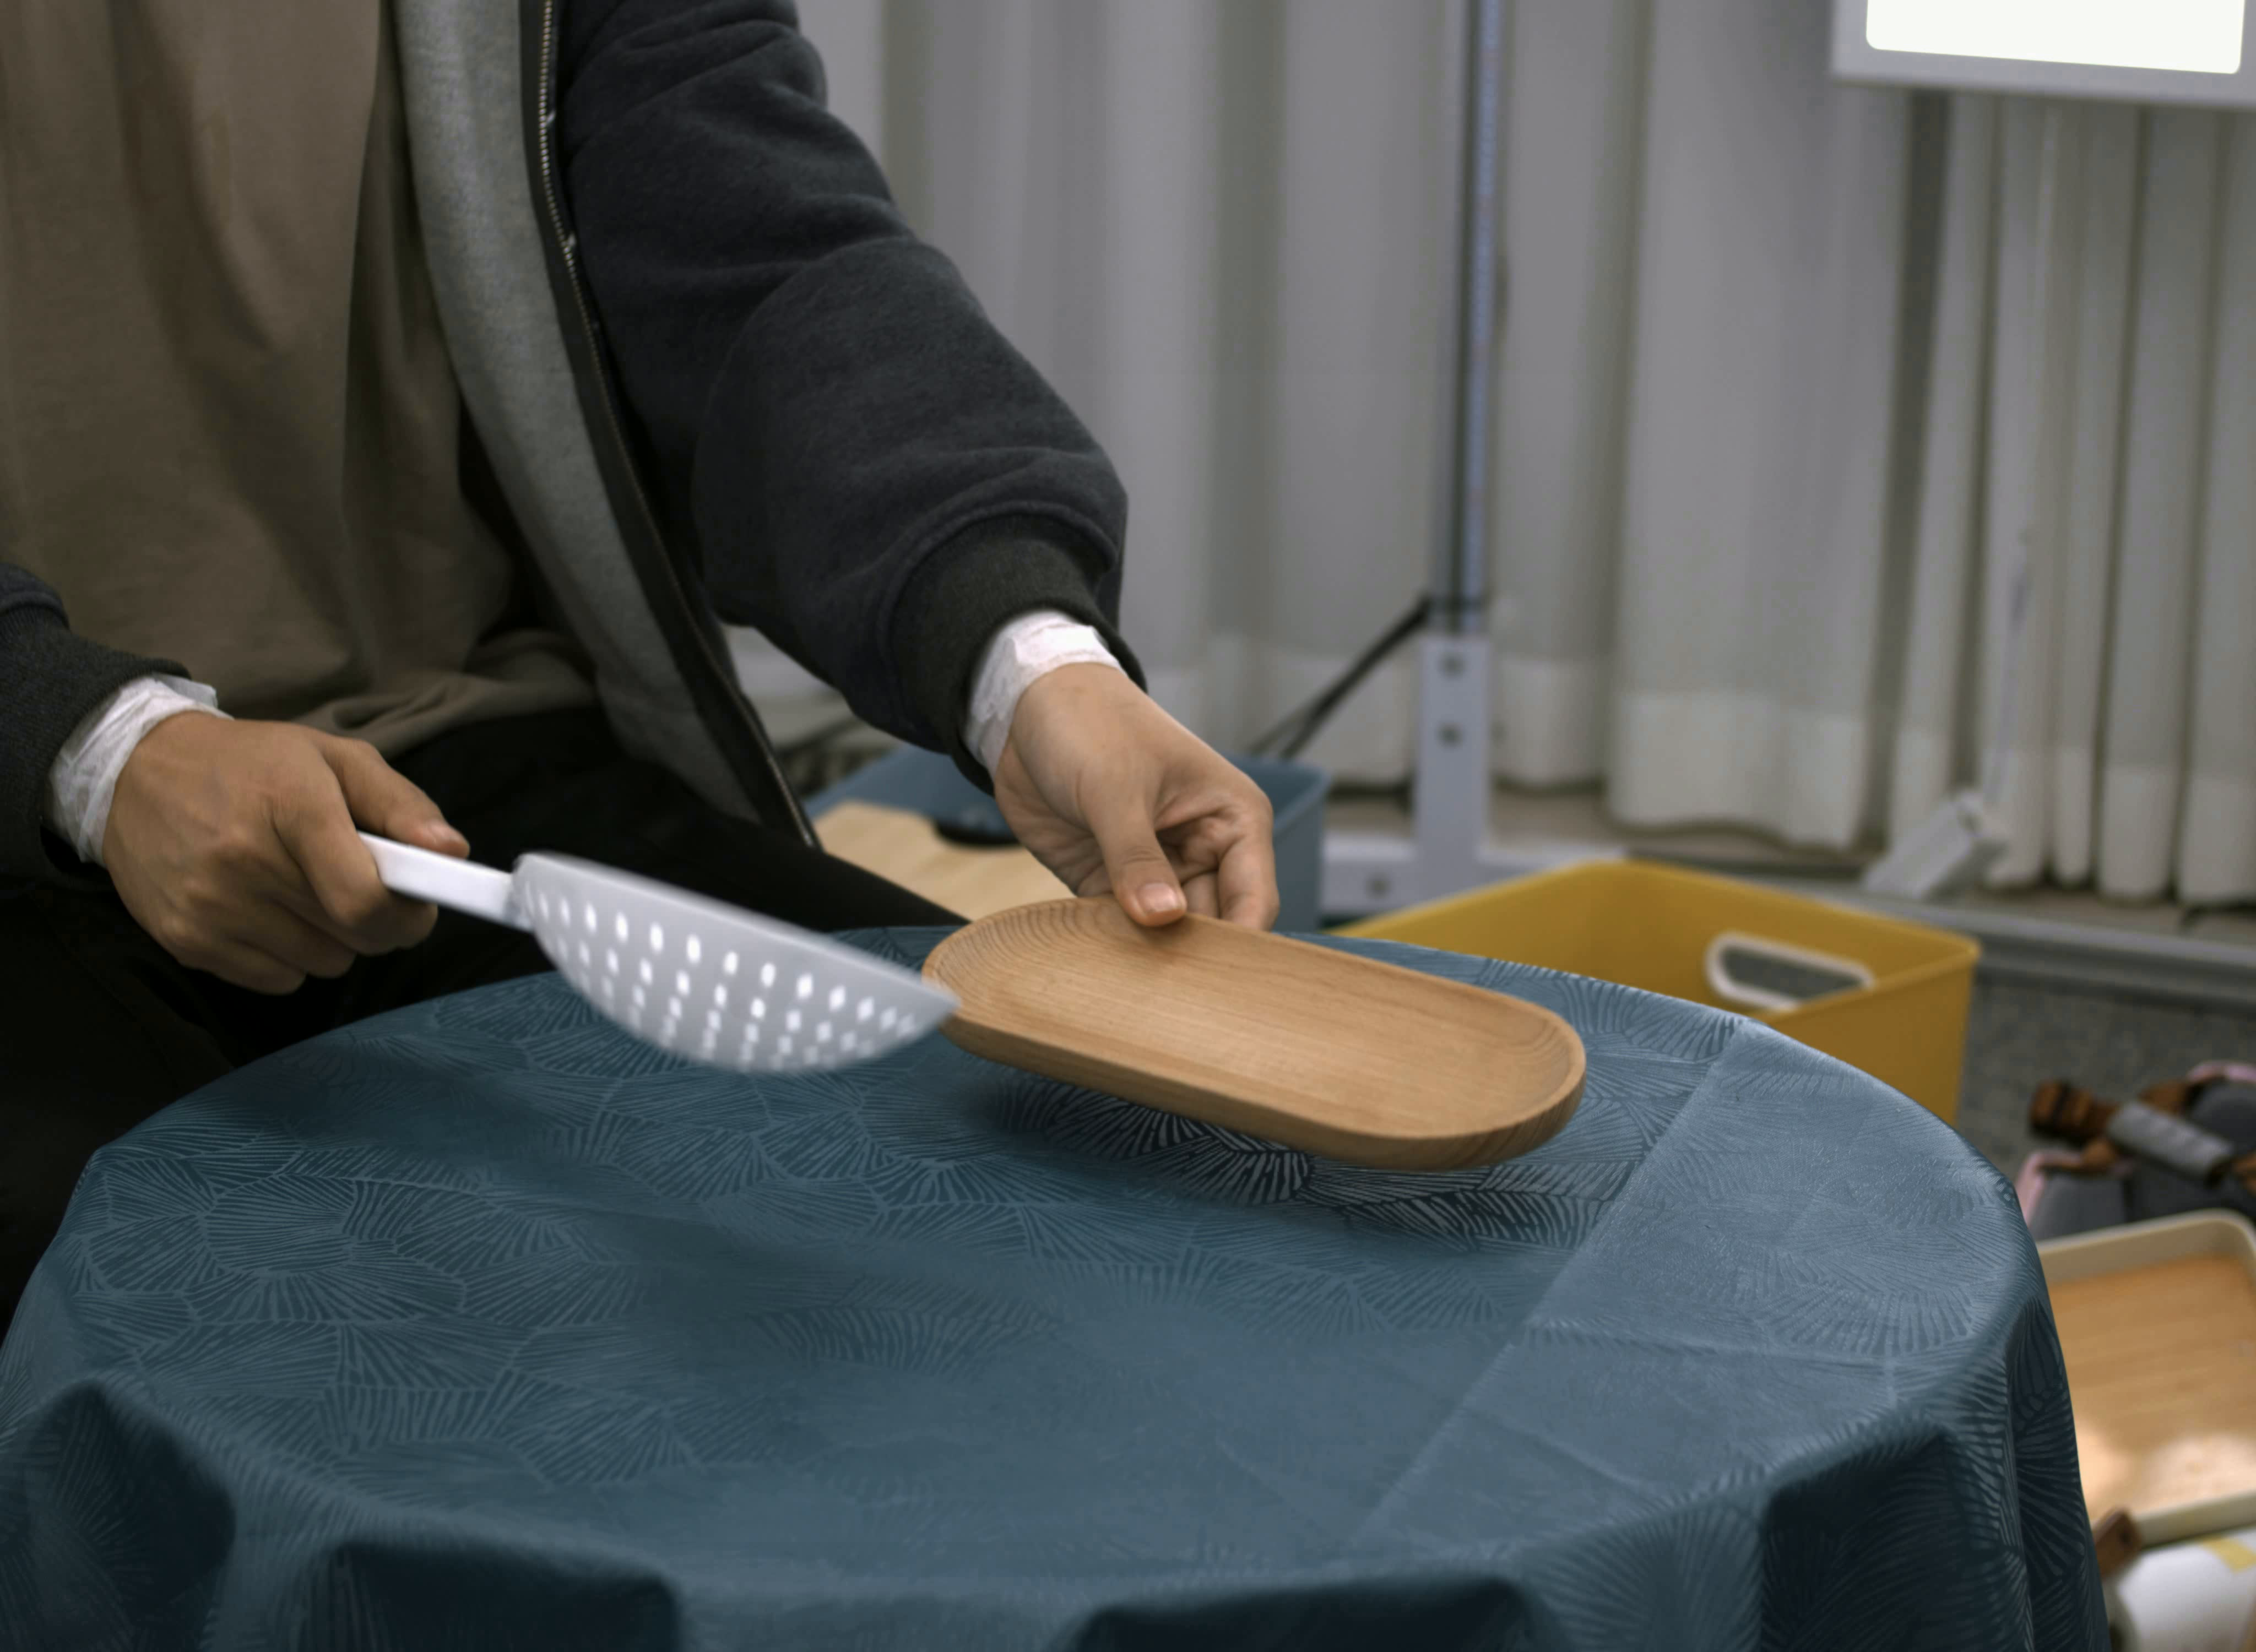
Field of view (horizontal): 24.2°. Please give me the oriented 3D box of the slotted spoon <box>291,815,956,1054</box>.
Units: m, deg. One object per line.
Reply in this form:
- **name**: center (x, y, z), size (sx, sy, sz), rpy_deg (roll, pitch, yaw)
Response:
- **slotted spoon**: center (-0.172, 0.020, 1.577), size (0.137, 0.046, 0.345), rpy_deg (23, -3, -32)

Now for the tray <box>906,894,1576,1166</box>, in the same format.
- **tray**: center (0.033, 0.063, 1.651), size (0.228, 0.020, 0.102), rpy_deg (12, 27, 31)
